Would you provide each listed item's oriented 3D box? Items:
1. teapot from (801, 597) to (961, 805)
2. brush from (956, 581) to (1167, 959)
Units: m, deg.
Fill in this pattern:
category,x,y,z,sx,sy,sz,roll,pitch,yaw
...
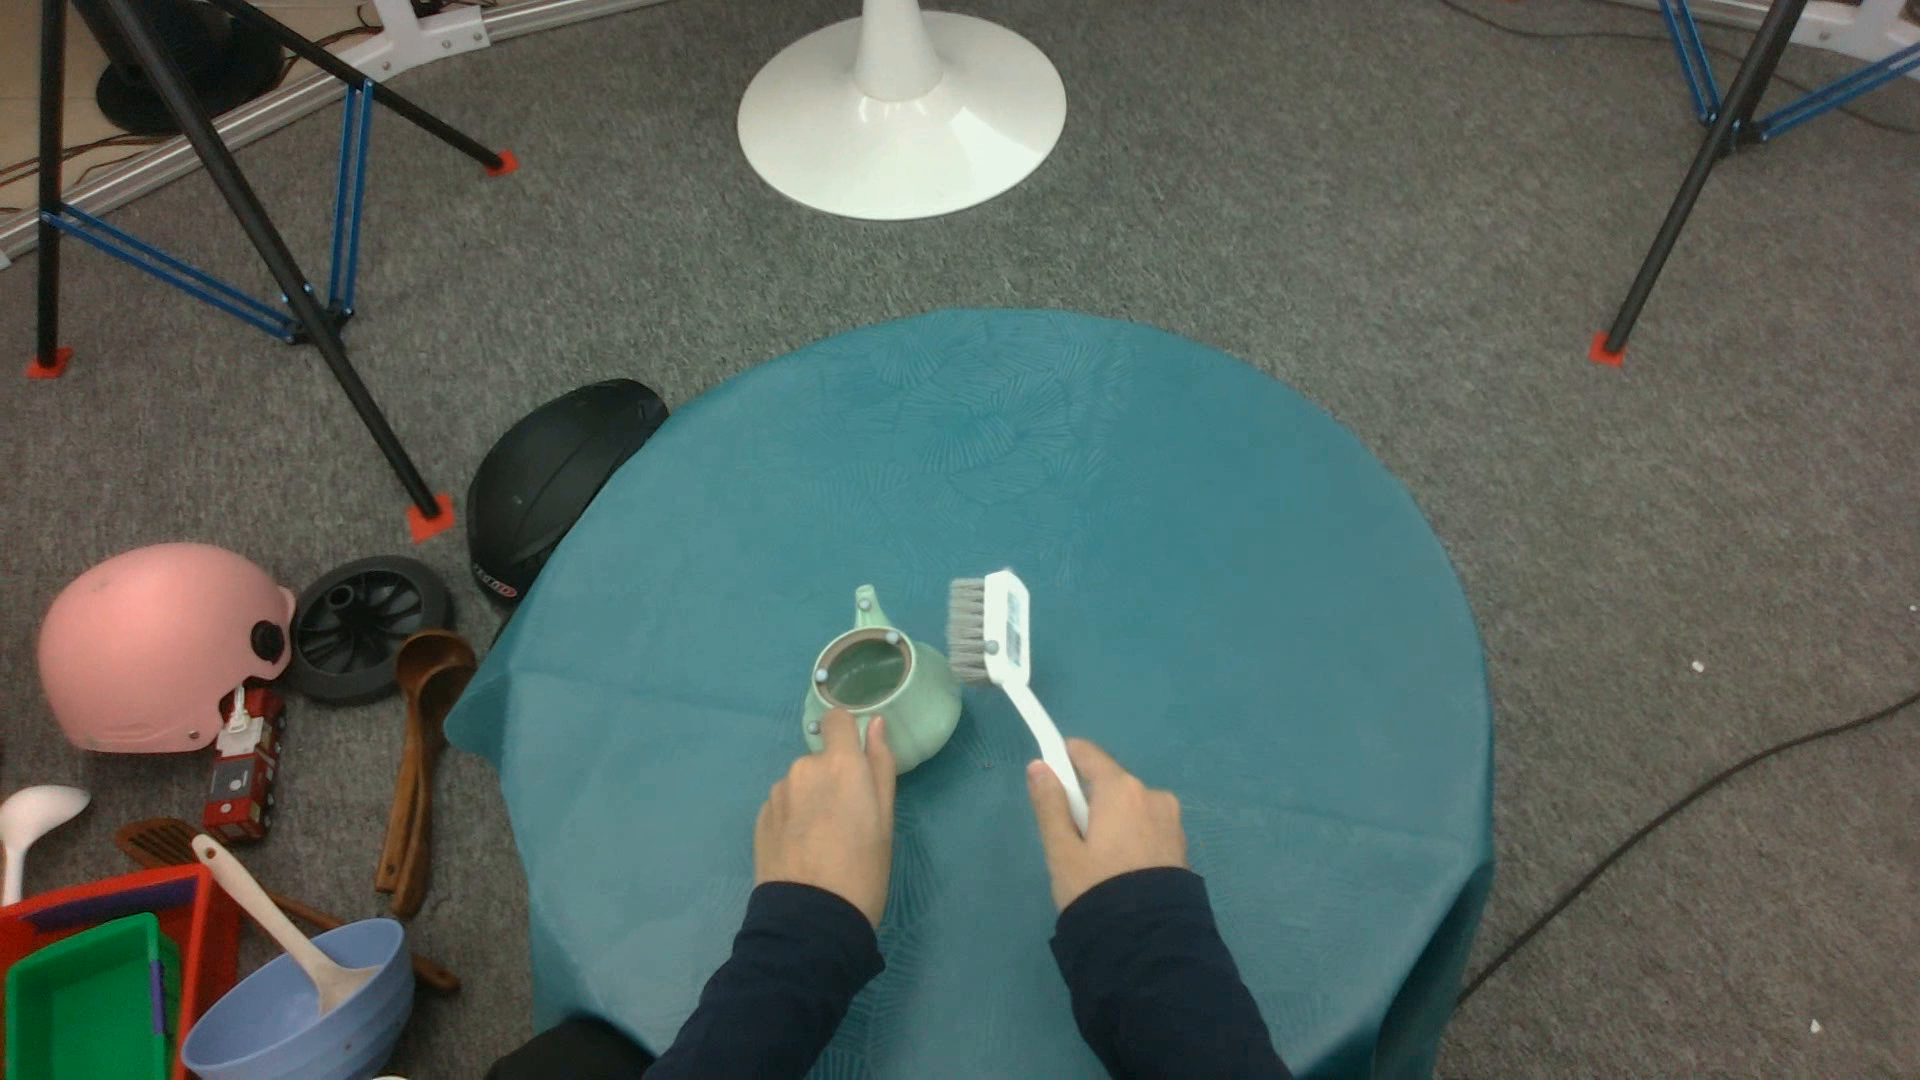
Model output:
category,x,y,z,sx,sy,sz,roll,pitch,yaw
teapot,-0.049,0.101,0.807,0.096,0.061,0.137,-10,44,5
brush,0.046,0.121,0.750,0.050,0.034,0.244,-30,53,12
